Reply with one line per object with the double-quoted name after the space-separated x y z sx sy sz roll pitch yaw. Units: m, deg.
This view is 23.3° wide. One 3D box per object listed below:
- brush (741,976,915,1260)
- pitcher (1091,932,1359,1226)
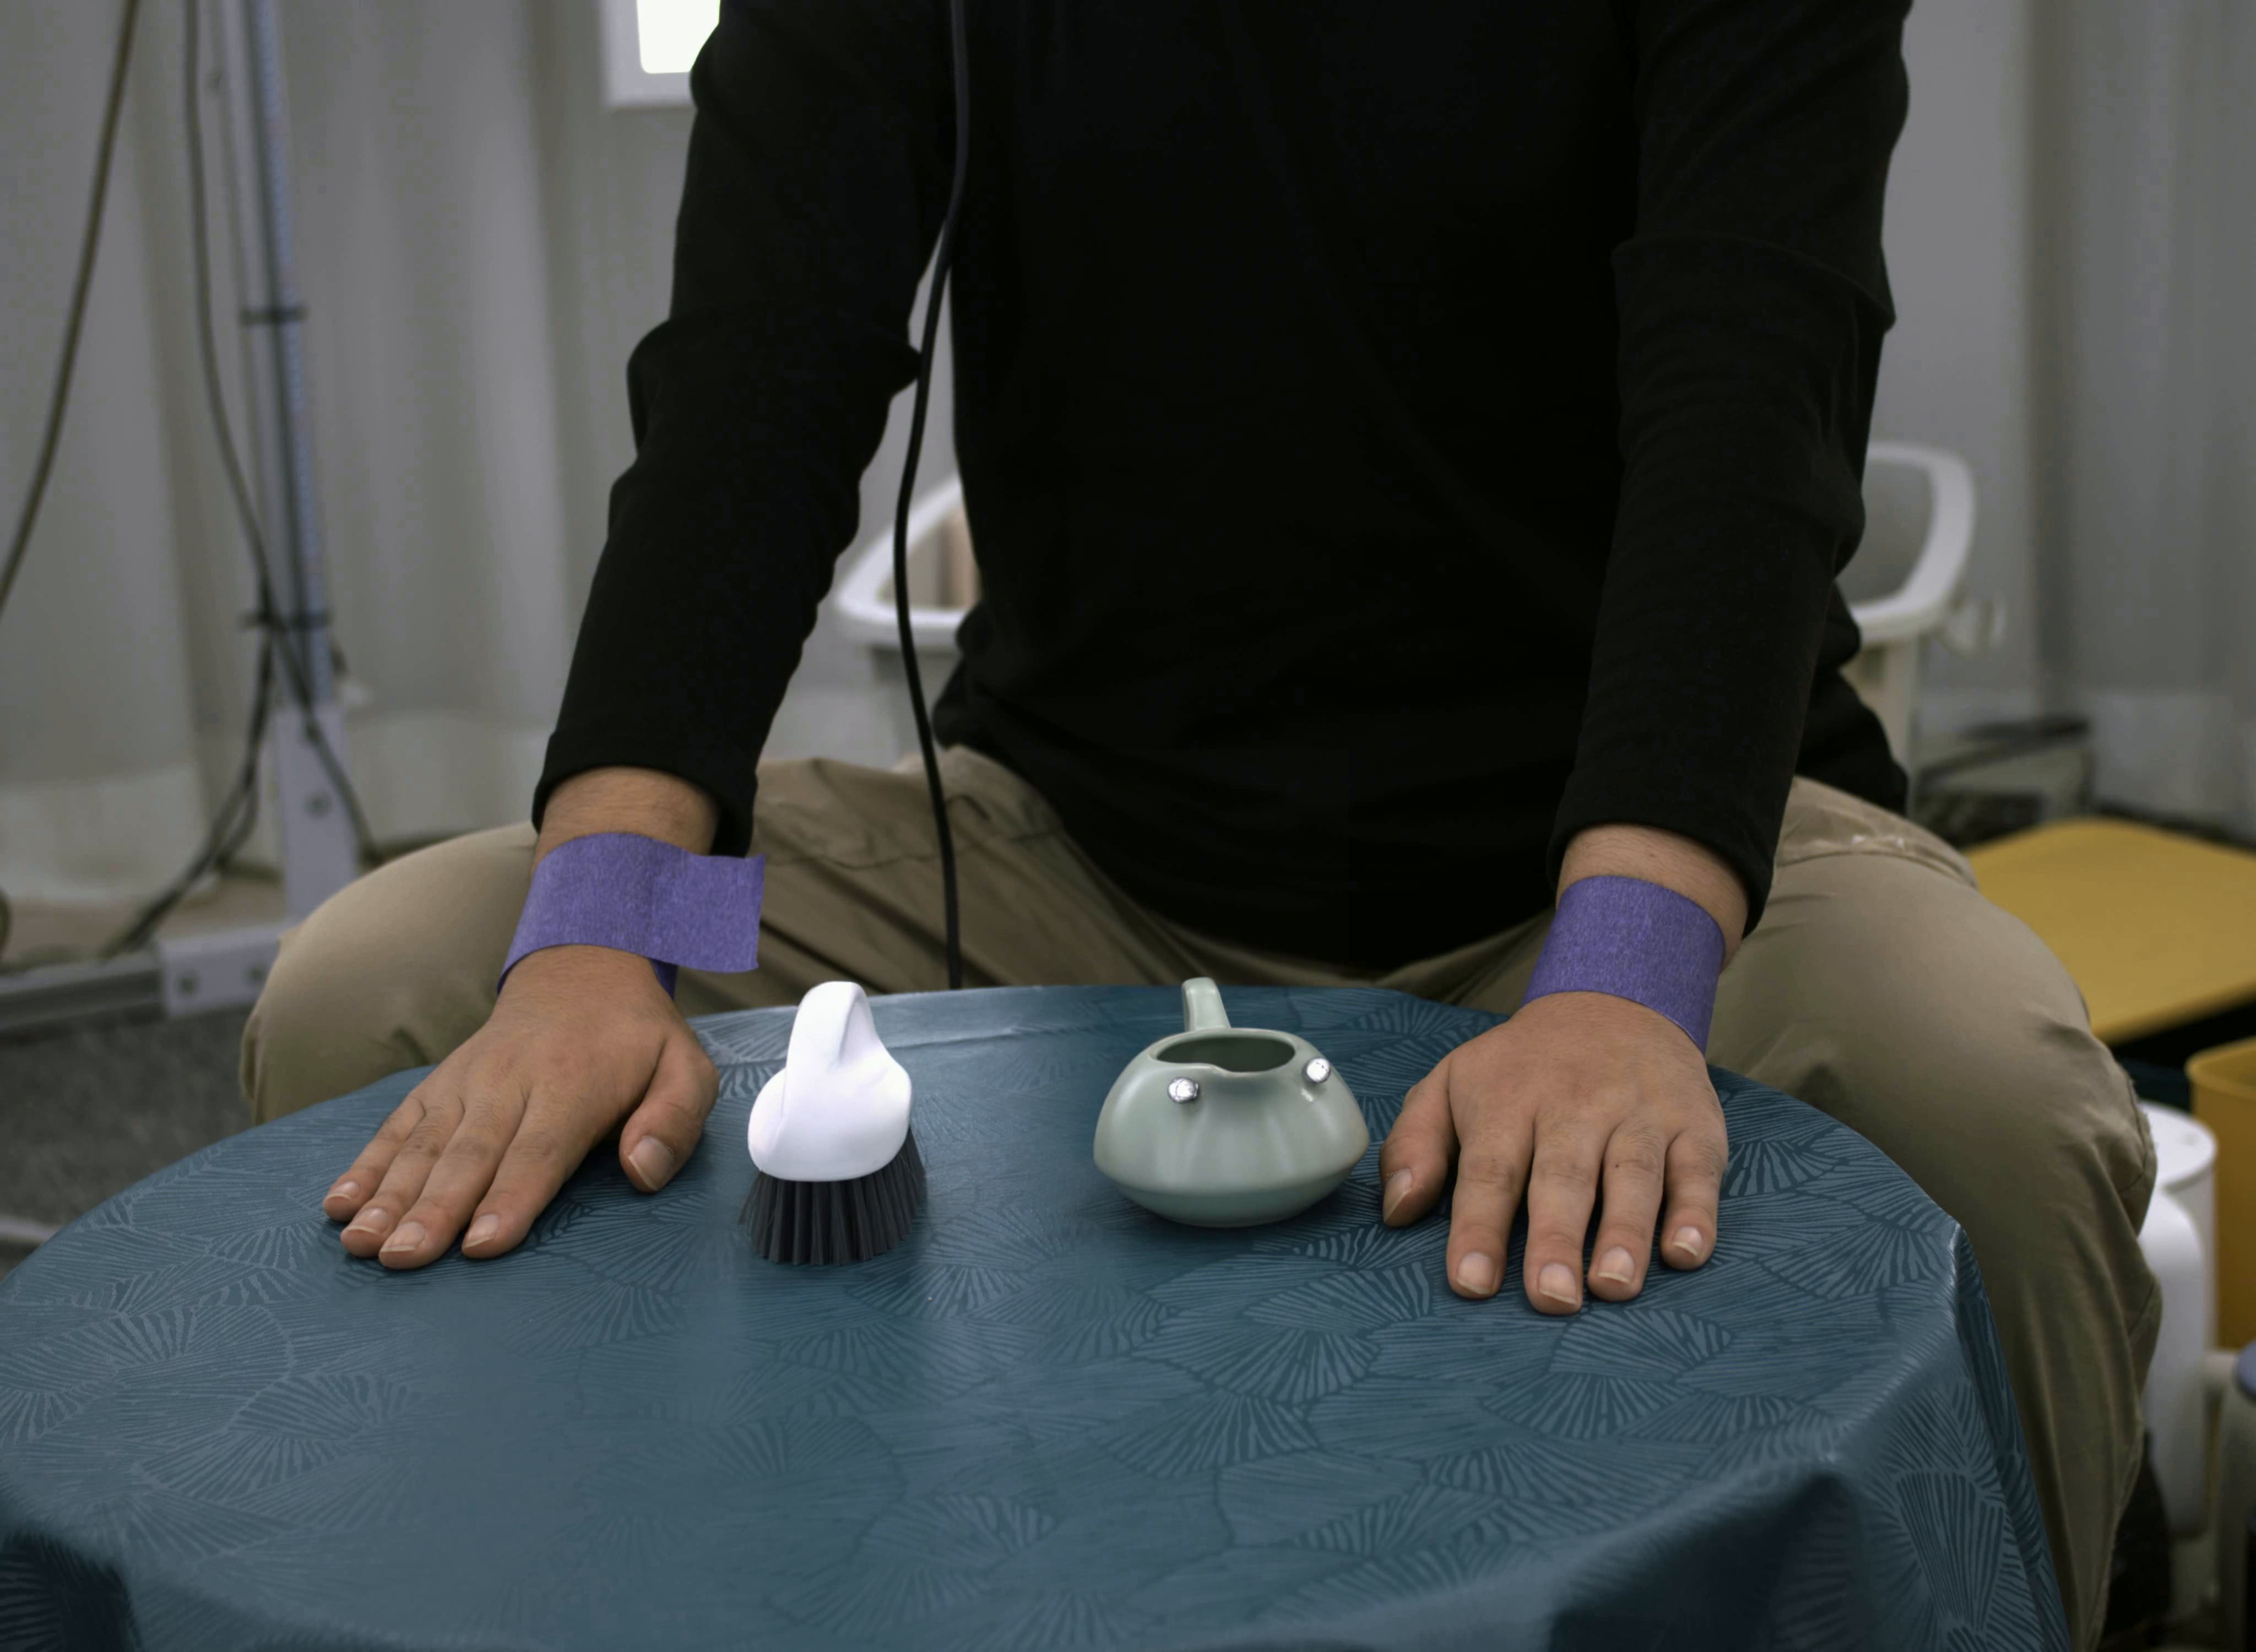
-0.094 0.085 1.700 0.050 0.072 0.100 0 16 5 "brush"
0.029 0.081 1.713 0.086 0.060 0.109 -11 30 11 "pitcher"
